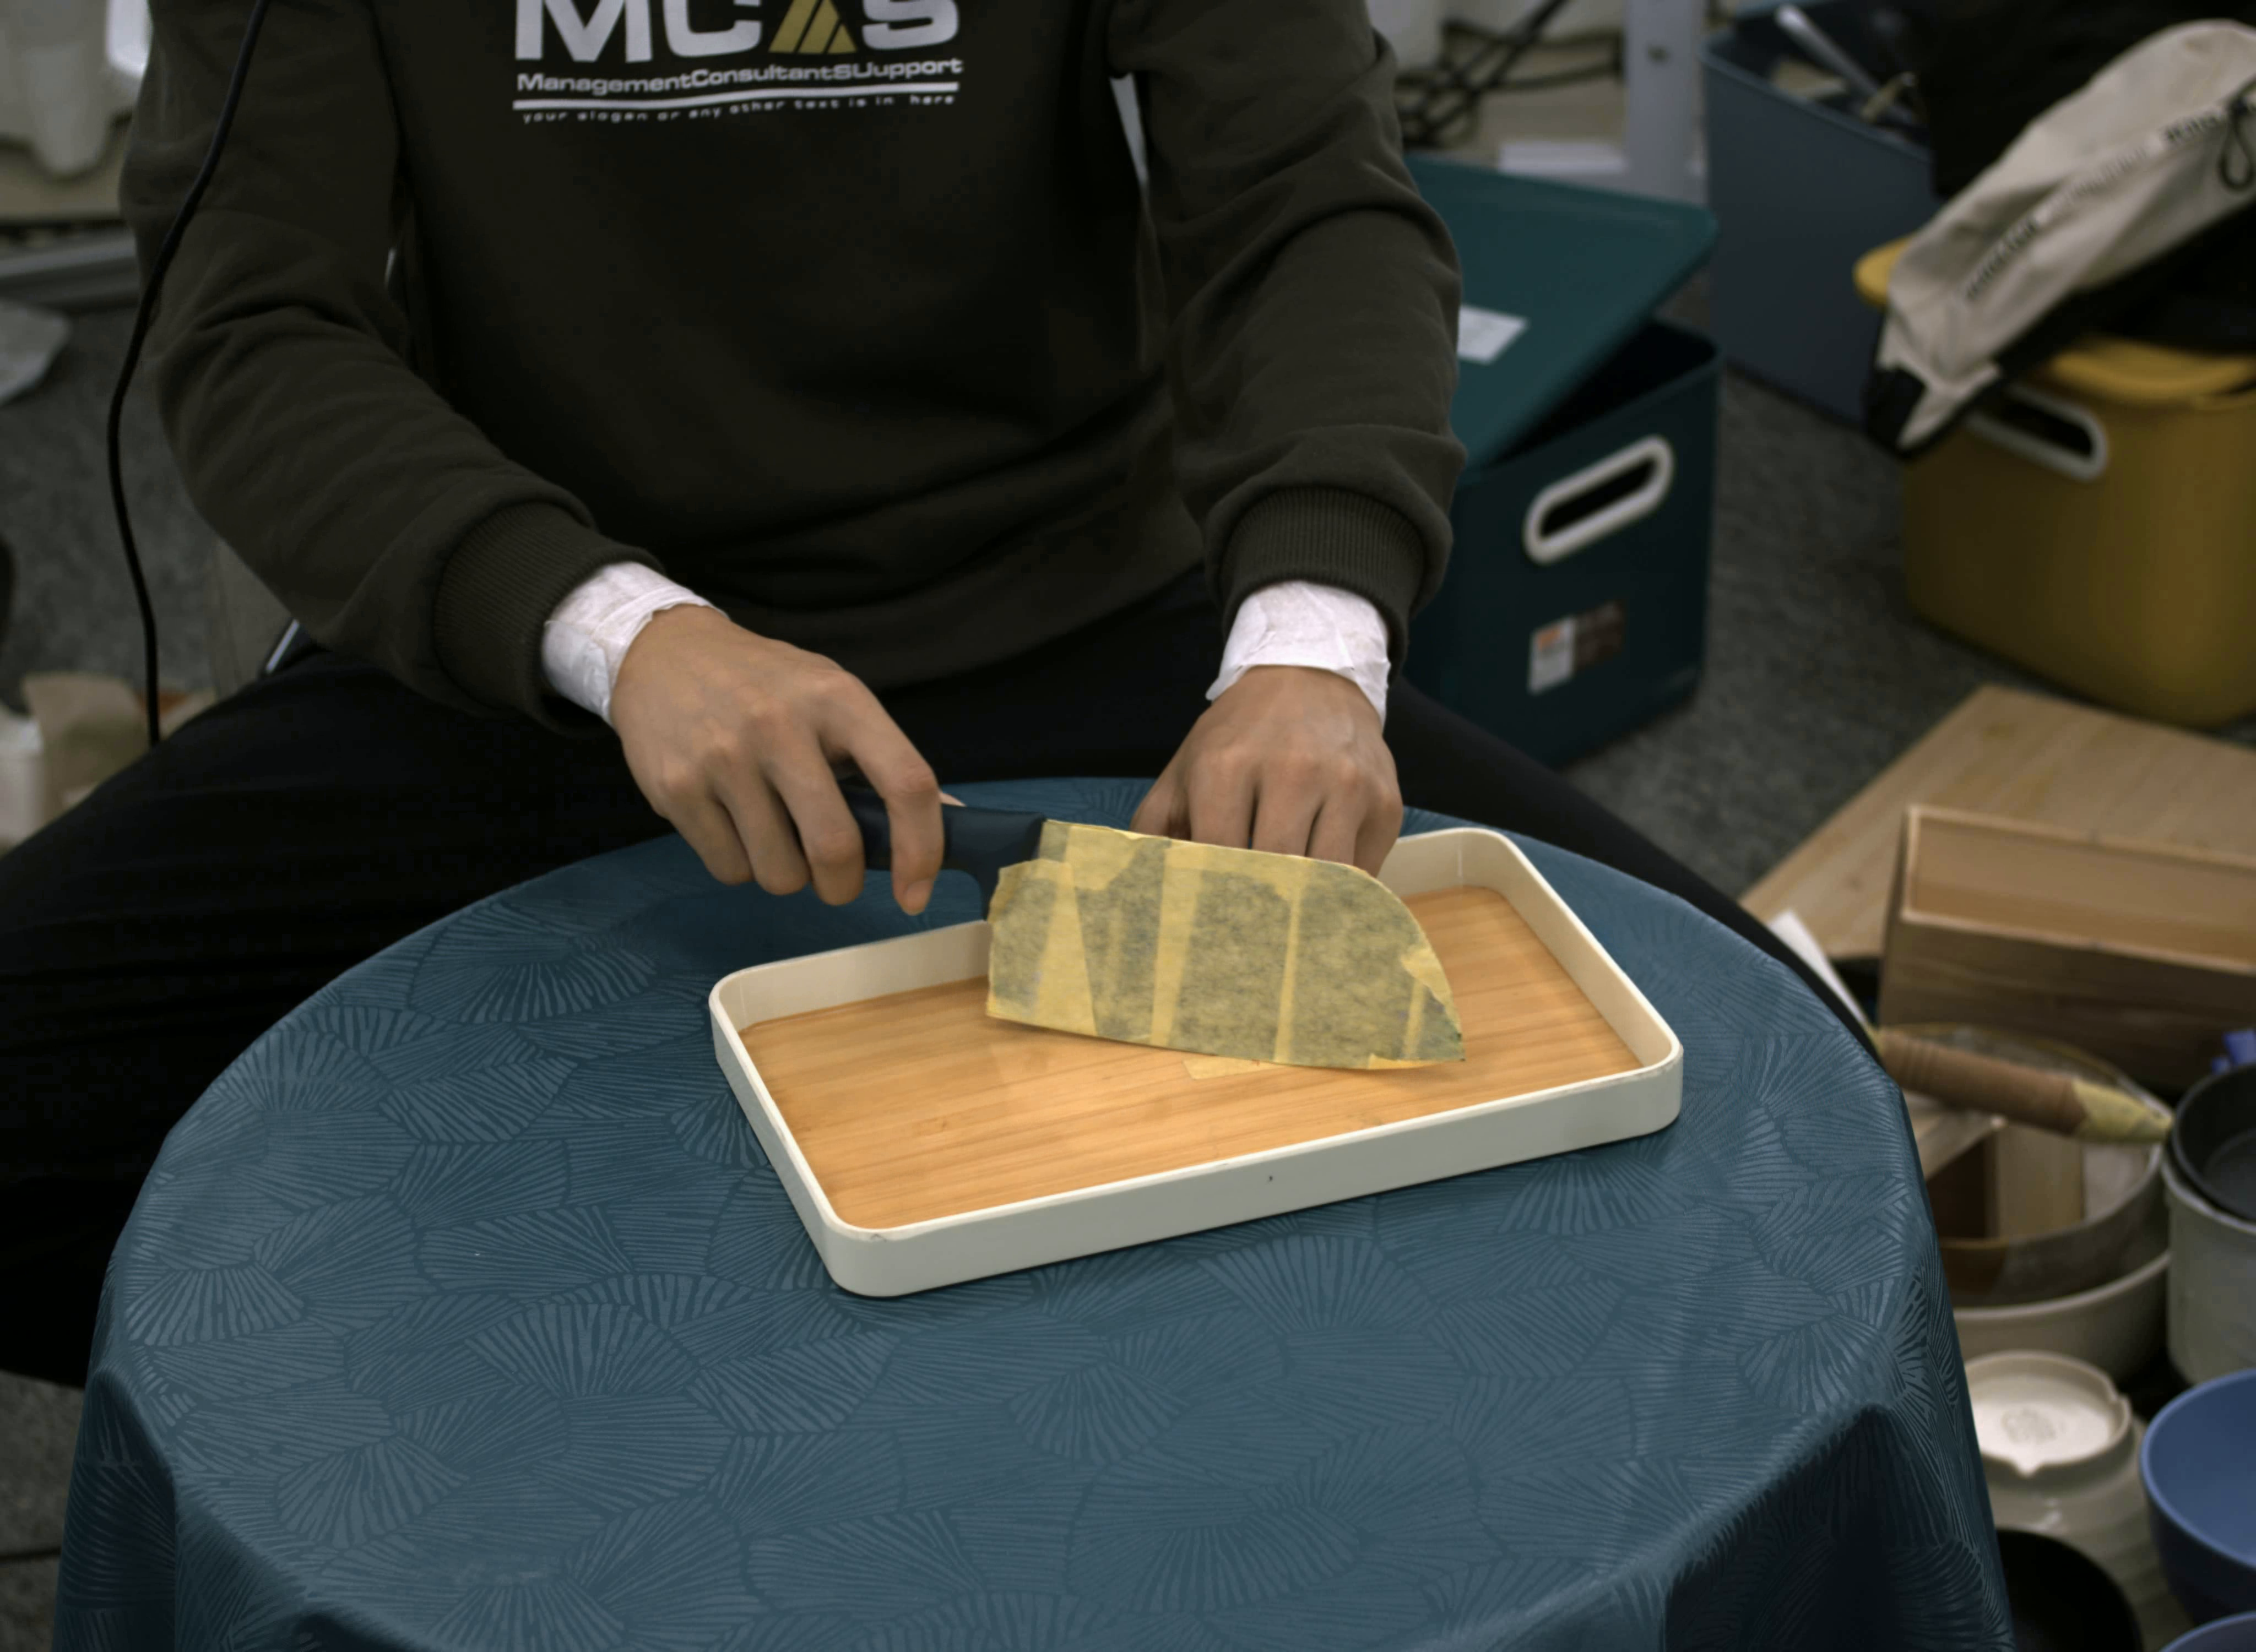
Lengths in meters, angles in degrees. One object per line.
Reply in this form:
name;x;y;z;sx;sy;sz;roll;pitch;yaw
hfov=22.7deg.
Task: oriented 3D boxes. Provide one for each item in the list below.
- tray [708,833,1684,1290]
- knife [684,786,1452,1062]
tray;0.021;0.077;1.918;0.300;0.027;0.193;-10;27;-15
knife;-0.023;0.033;1.943;0.288;0.081;0.027;11;3;19
